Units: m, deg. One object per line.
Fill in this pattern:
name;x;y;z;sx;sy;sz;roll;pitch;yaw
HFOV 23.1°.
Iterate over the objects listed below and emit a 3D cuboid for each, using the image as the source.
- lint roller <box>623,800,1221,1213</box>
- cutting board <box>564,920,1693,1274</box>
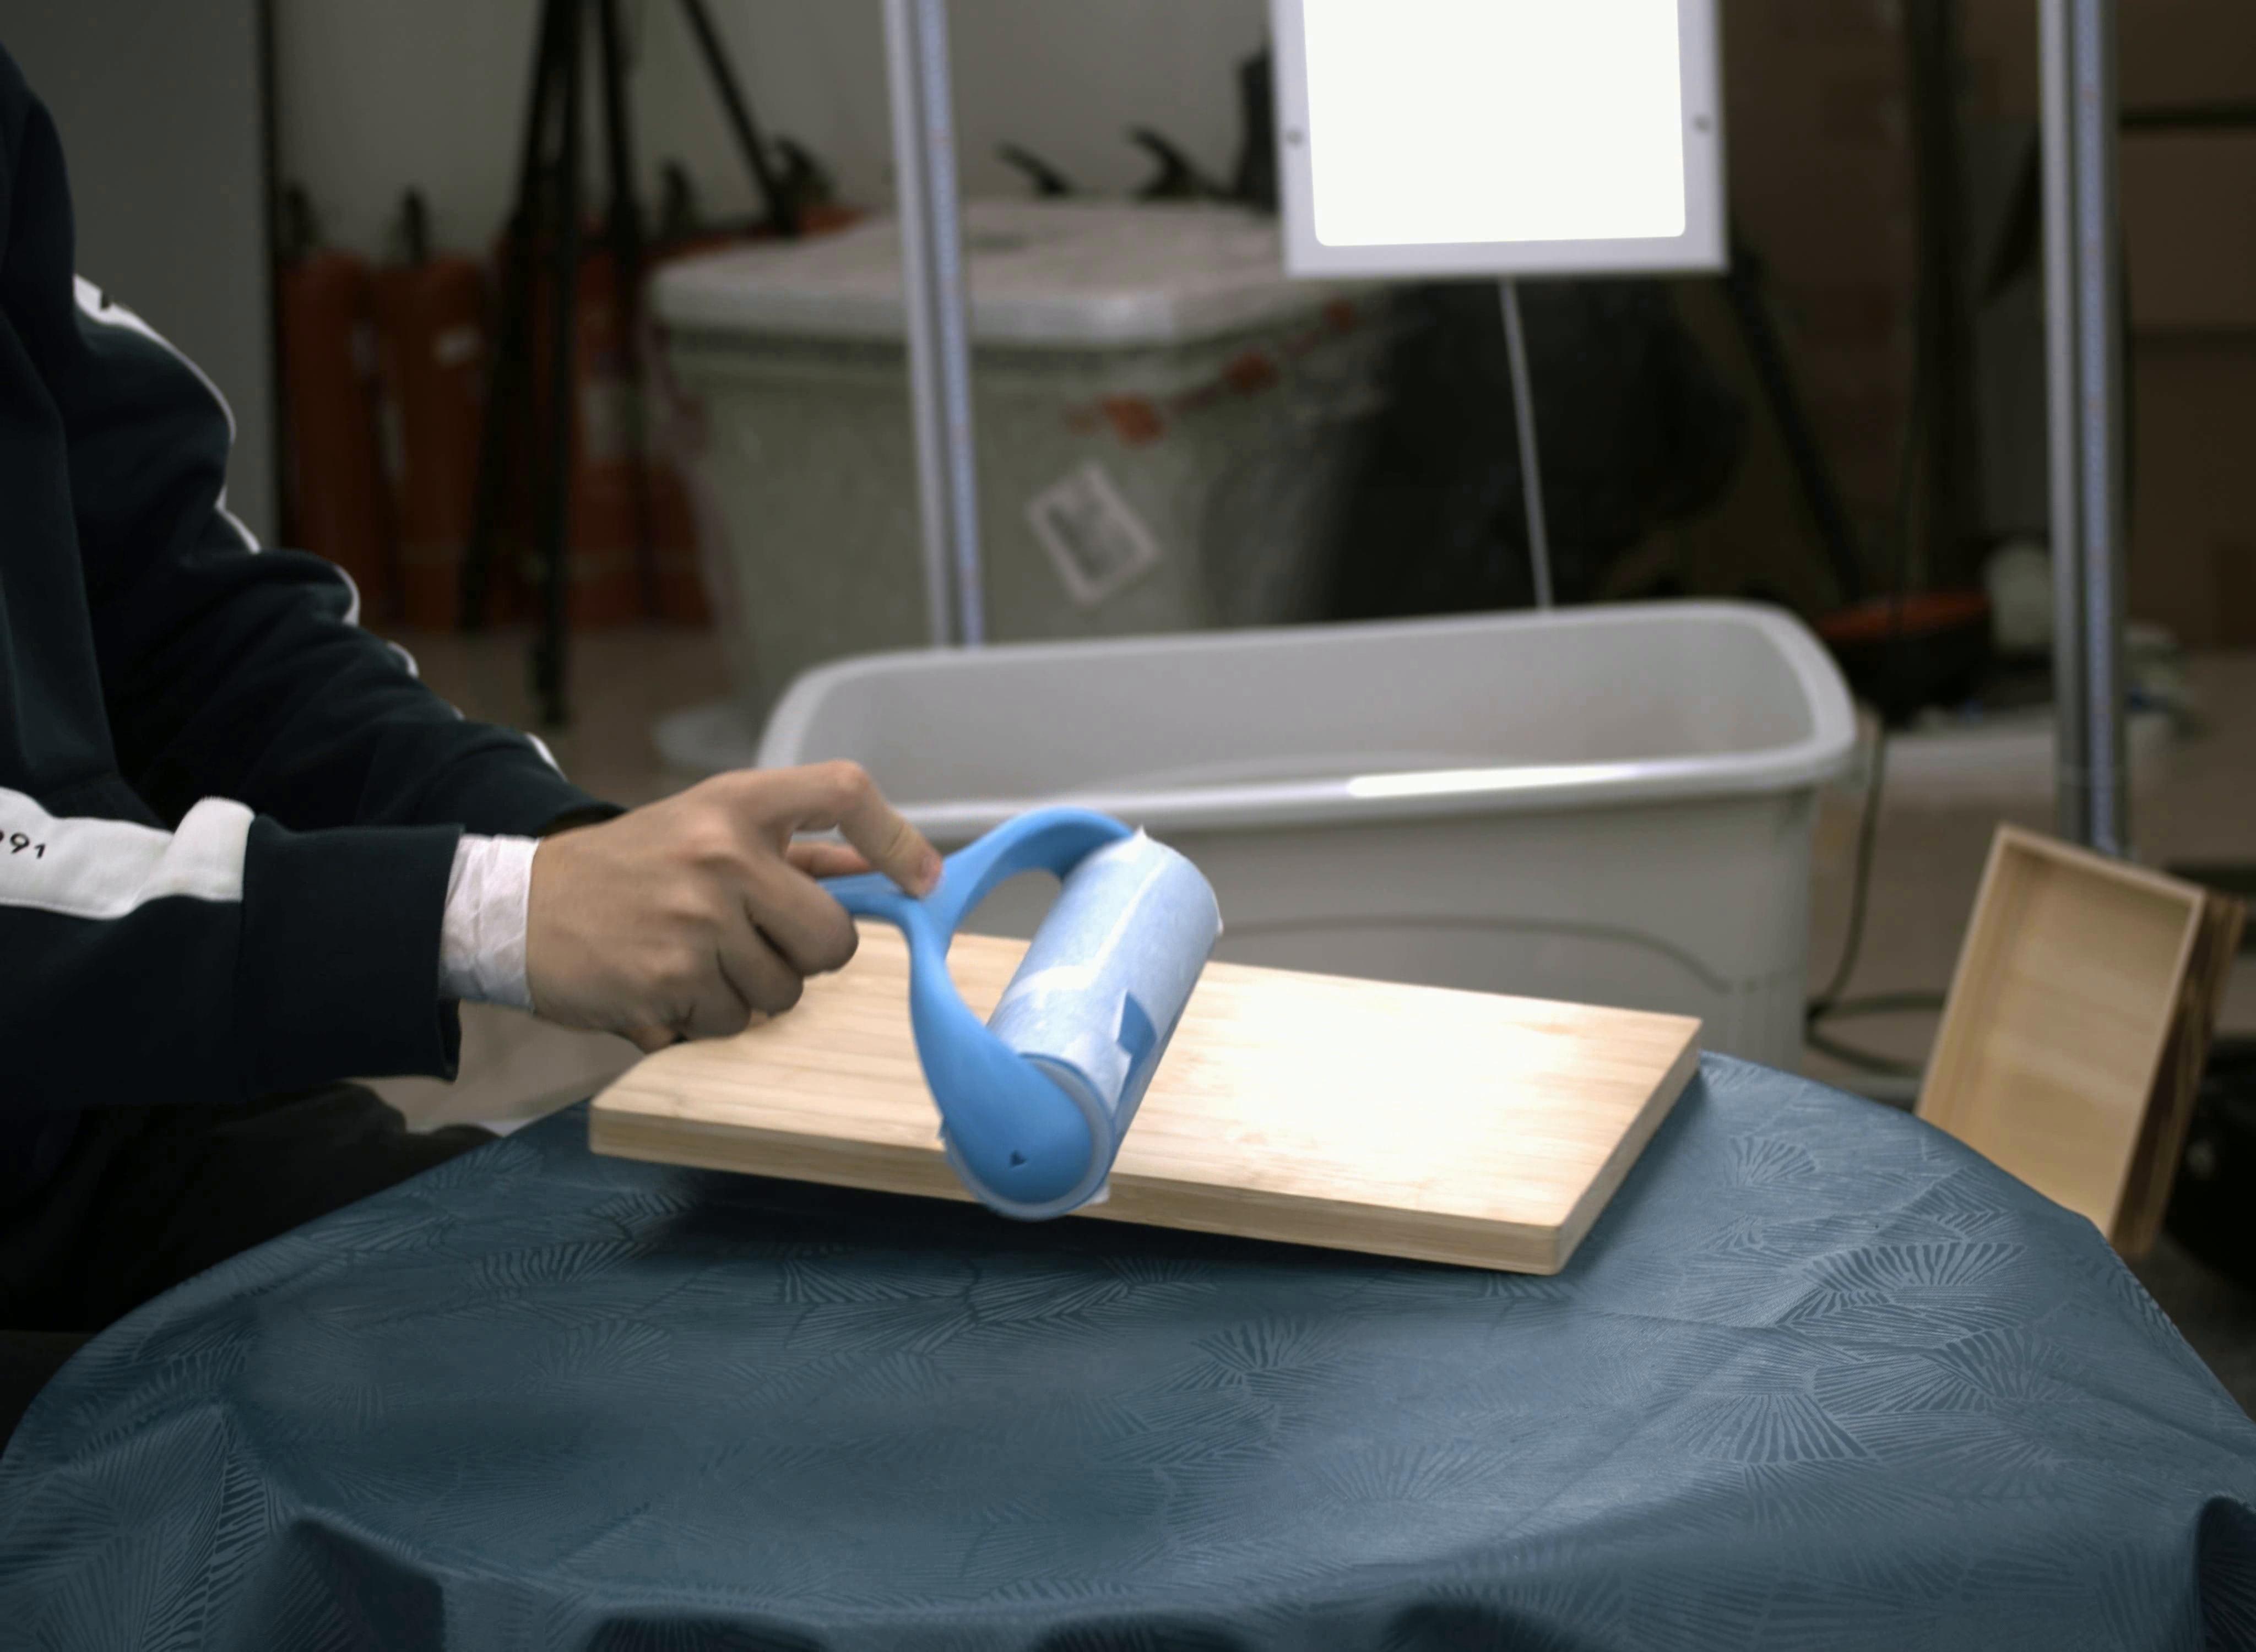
lint roller;-0.068;0.045;1.730;0.180;0.068;0.227;11;23;4
cutting board;0.006;0.091;1.931;0.352;0.024;0.247;6;16;17
